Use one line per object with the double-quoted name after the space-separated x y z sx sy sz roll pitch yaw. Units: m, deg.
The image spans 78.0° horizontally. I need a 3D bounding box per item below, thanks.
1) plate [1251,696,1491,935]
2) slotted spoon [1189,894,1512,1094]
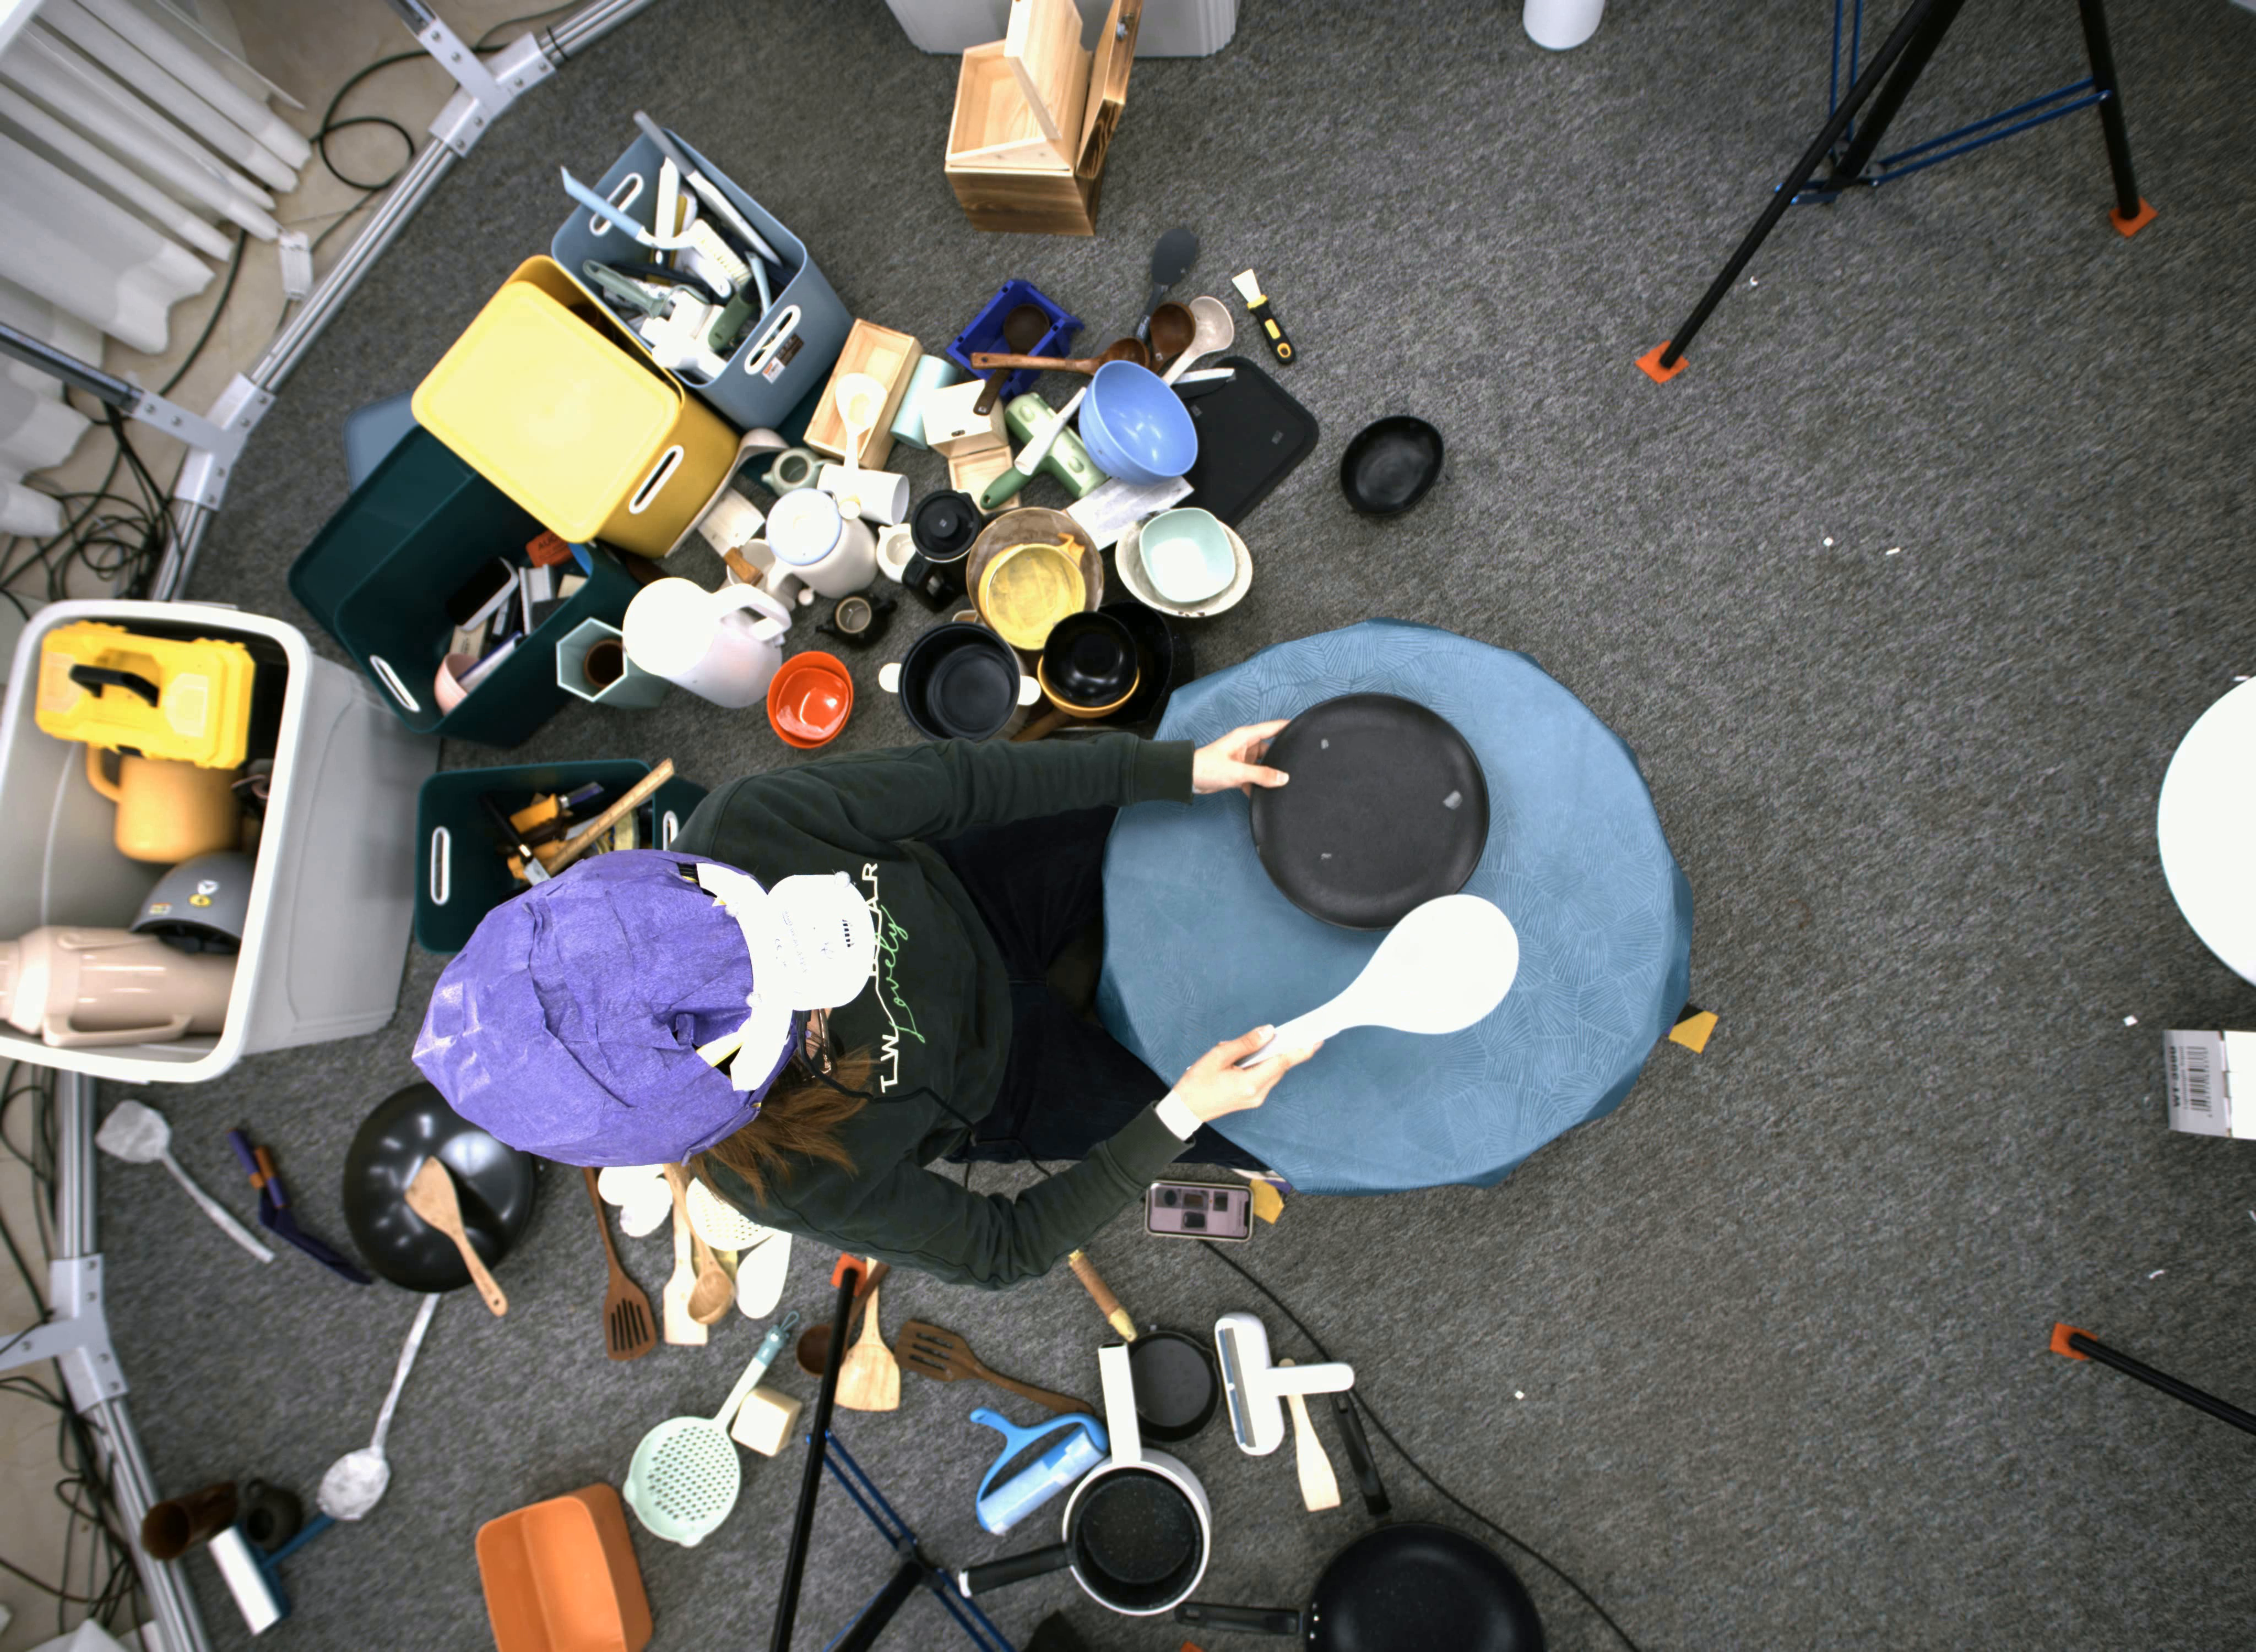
0.247 -0.012 1.412 0.245 0.023 0.244 0 92 6 "plate"
0.205 0.173 1.308 0.354 0.046 0.132 -27 41 20 "slotted spoon"
